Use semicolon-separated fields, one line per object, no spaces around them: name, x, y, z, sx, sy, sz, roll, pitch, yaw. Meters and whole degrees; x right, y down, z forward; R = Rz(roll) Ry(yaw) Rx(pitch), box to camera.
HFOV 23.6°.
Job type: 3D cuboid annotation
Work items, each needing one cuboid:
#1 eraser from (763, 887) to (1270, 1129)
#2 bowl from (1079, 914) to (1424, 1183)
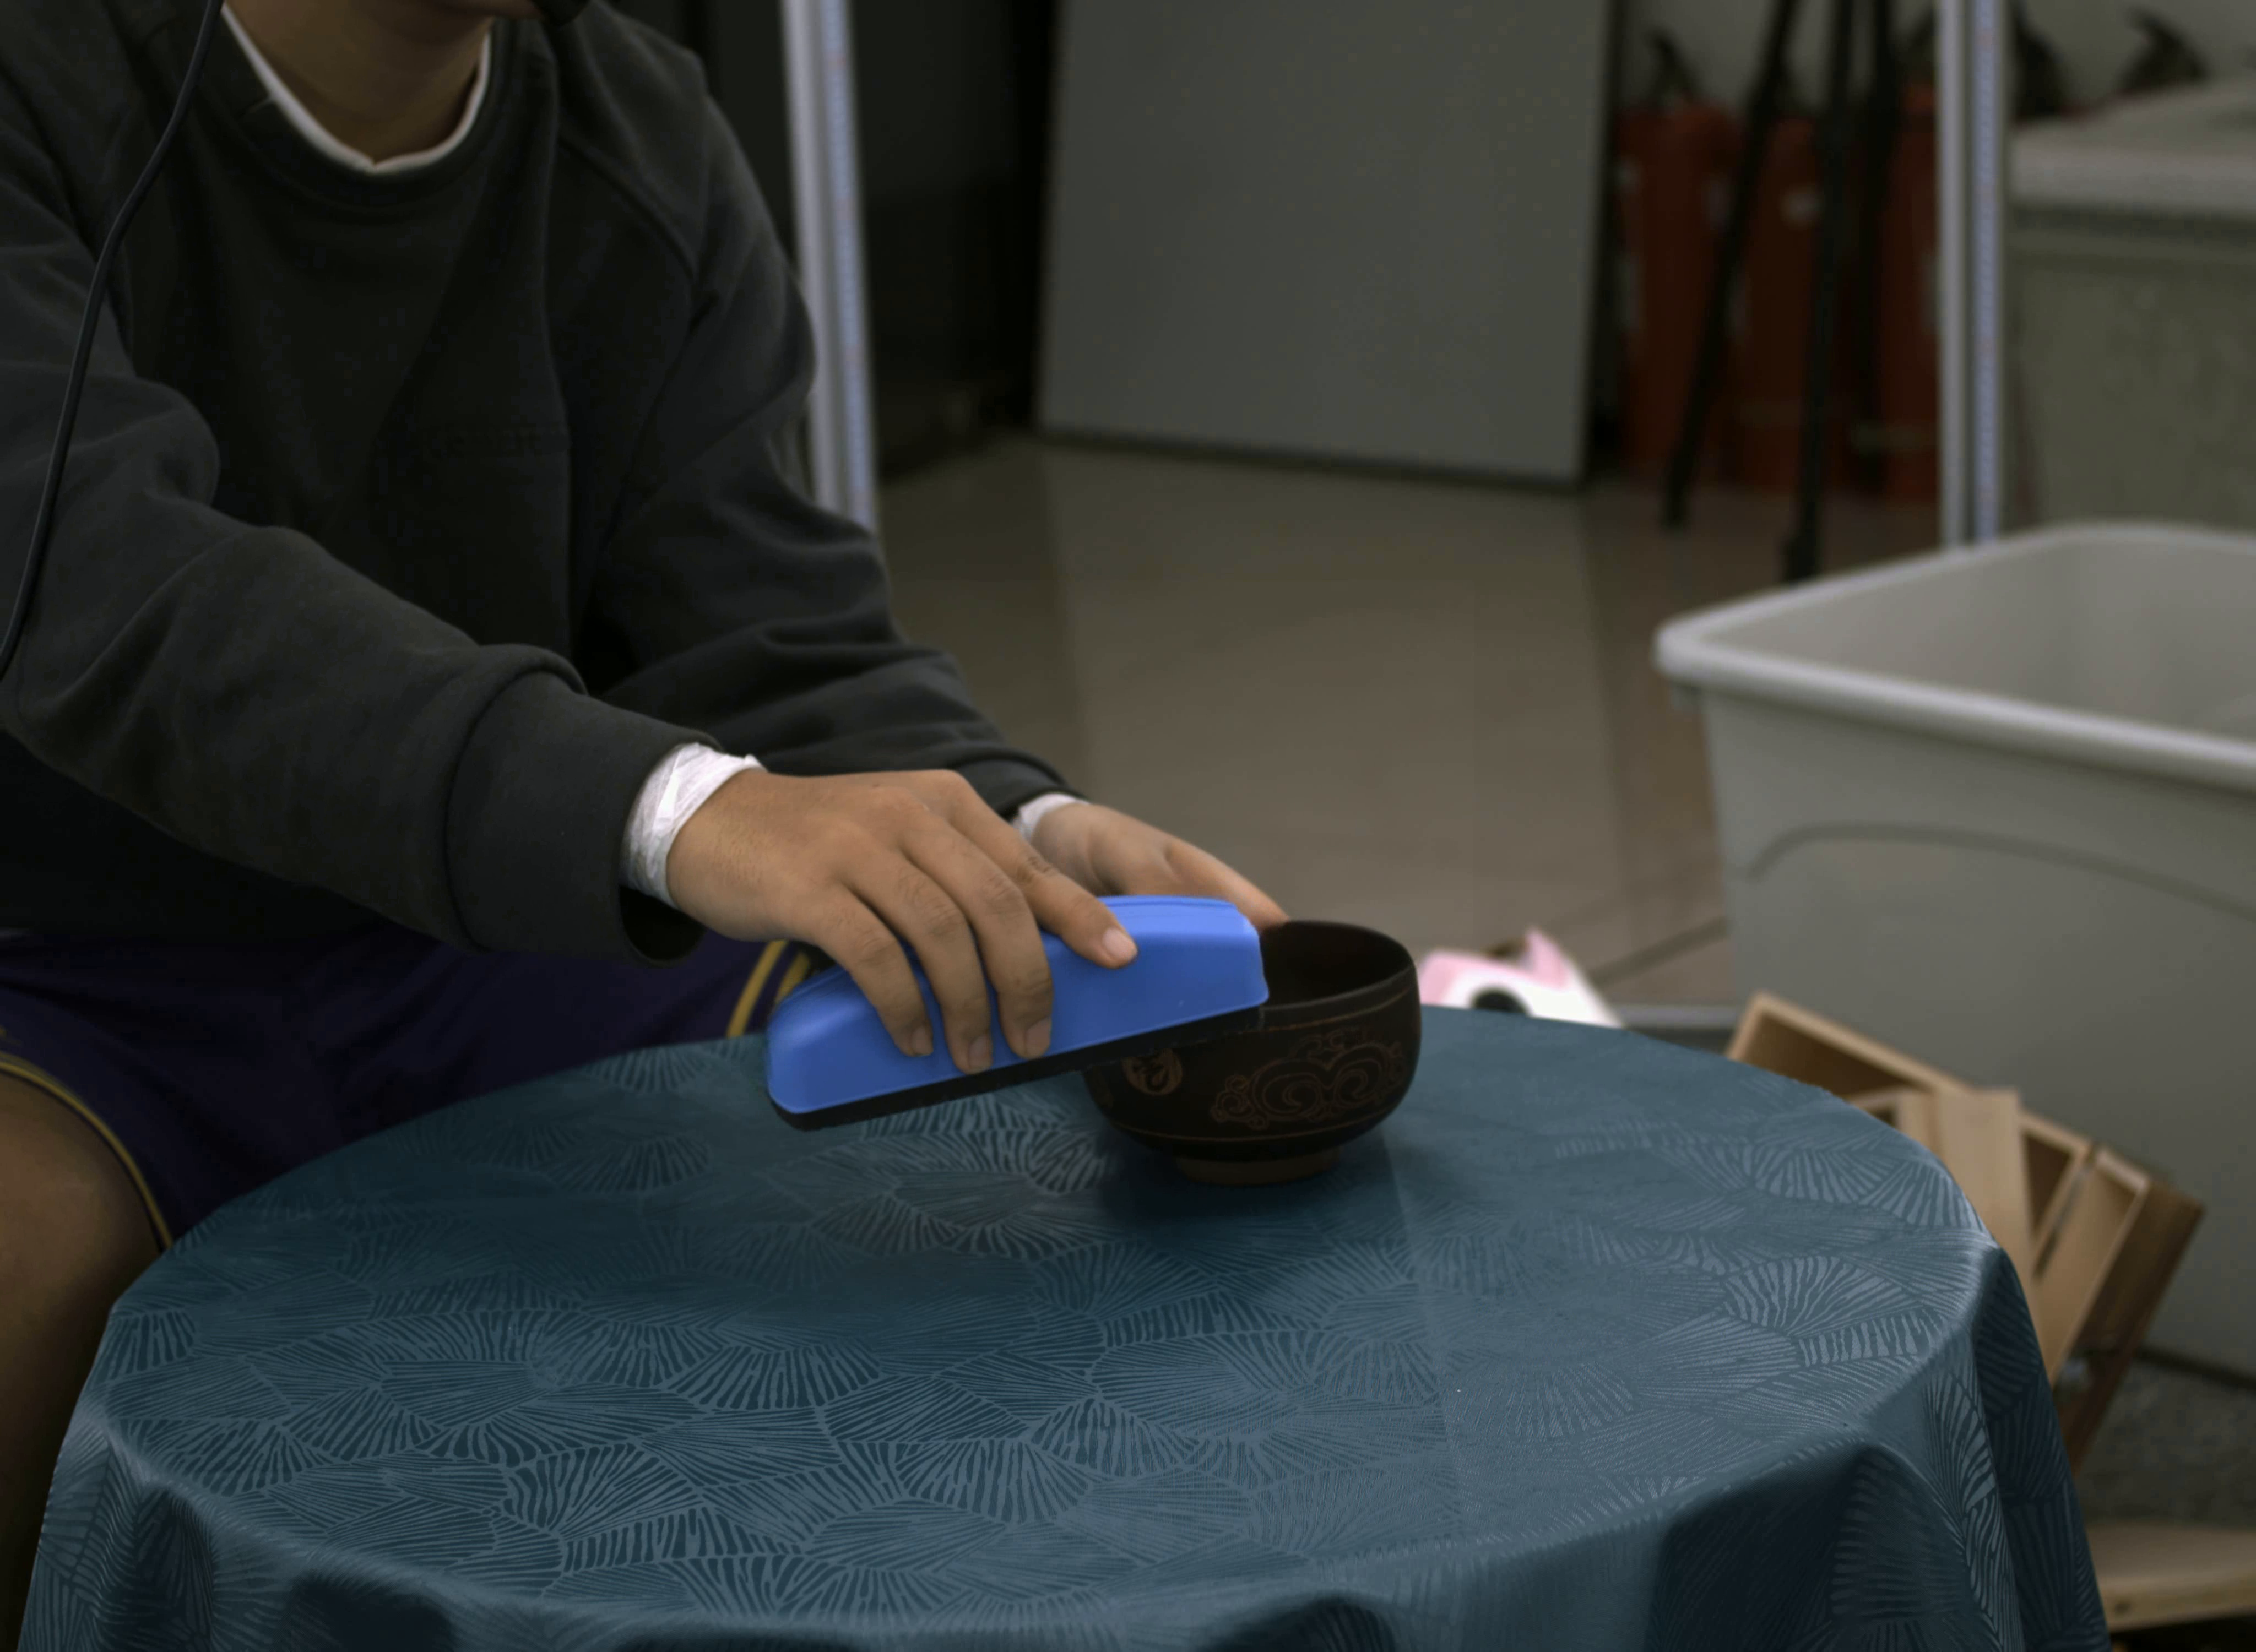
eraser;-0.036;0.052;1.701;0.159;0.048;0.054;-13;17;-9
bowl;0.041;0.077;1.781;0.116;0.070;0.118;-6;13;0
